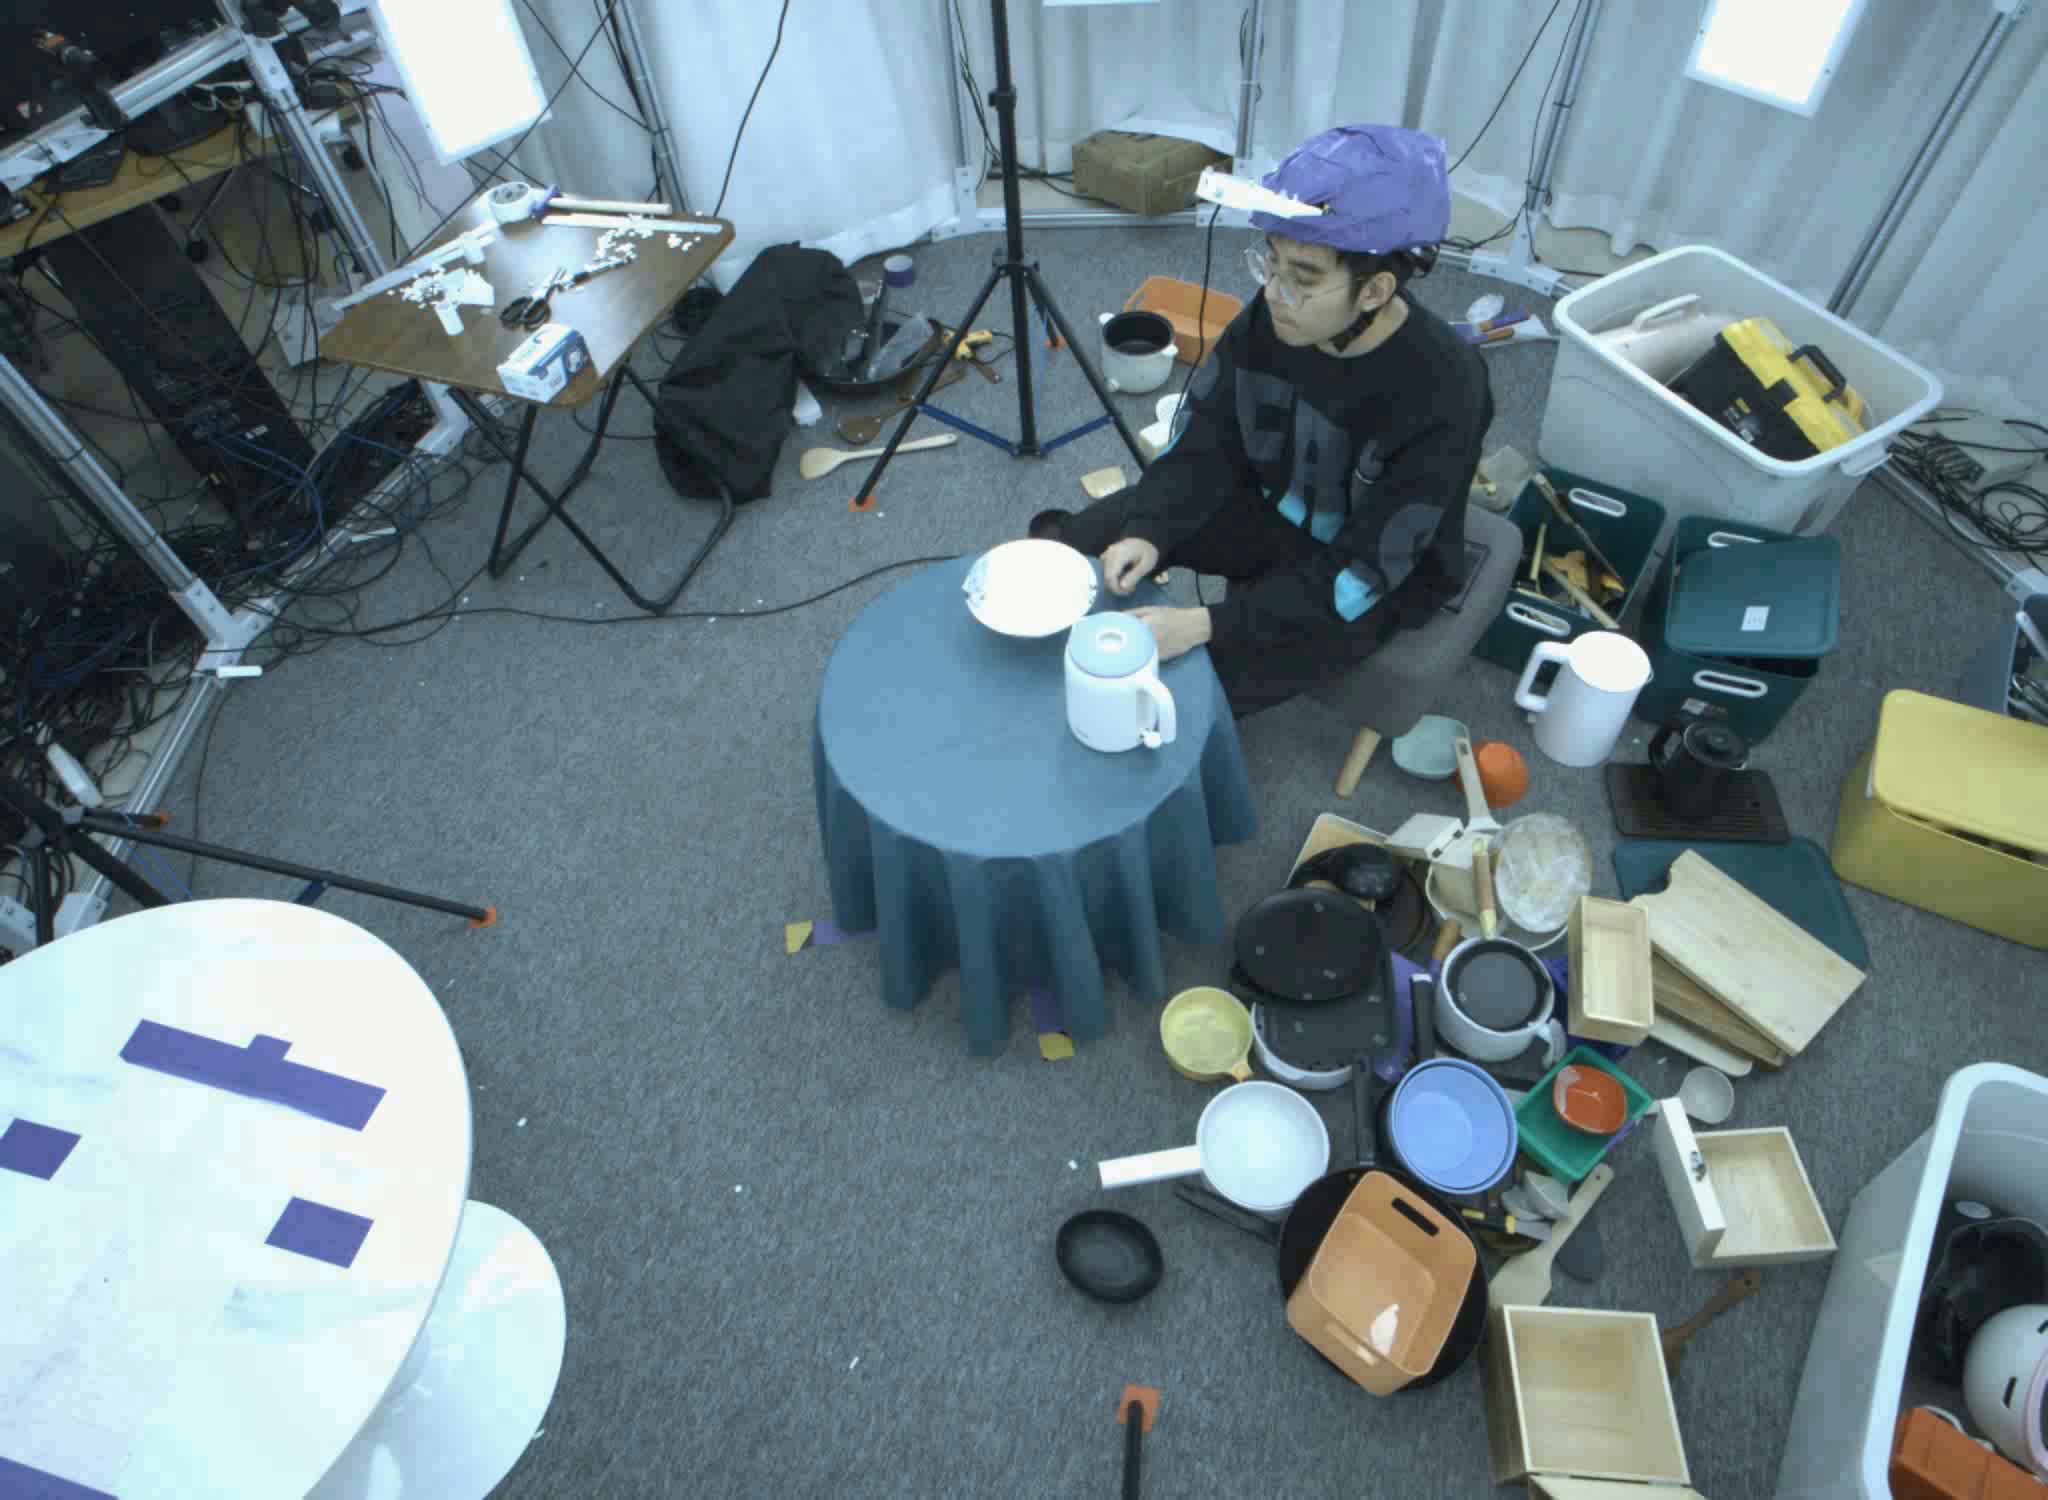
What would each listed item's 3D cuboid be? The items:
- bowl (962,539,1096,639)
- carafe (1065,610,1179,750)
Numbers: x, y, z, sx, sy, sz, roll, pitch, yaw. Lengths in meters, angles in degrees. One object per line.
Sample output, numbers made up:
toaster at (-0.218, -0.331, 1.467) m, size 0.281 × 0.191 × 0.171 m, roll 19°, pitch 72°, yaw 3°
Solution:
bowl at (0.008, -0.229, 1.900) m, size 0.204 × 0.078 × 0.202 m, roll 1°, pitch 54°, yaw 0°
carafe at (0.142, -0.084, 1.733) m, size 0.188 × 0.184 × 0.133 m, roll 38°, pitch 66°, yaw 23°
